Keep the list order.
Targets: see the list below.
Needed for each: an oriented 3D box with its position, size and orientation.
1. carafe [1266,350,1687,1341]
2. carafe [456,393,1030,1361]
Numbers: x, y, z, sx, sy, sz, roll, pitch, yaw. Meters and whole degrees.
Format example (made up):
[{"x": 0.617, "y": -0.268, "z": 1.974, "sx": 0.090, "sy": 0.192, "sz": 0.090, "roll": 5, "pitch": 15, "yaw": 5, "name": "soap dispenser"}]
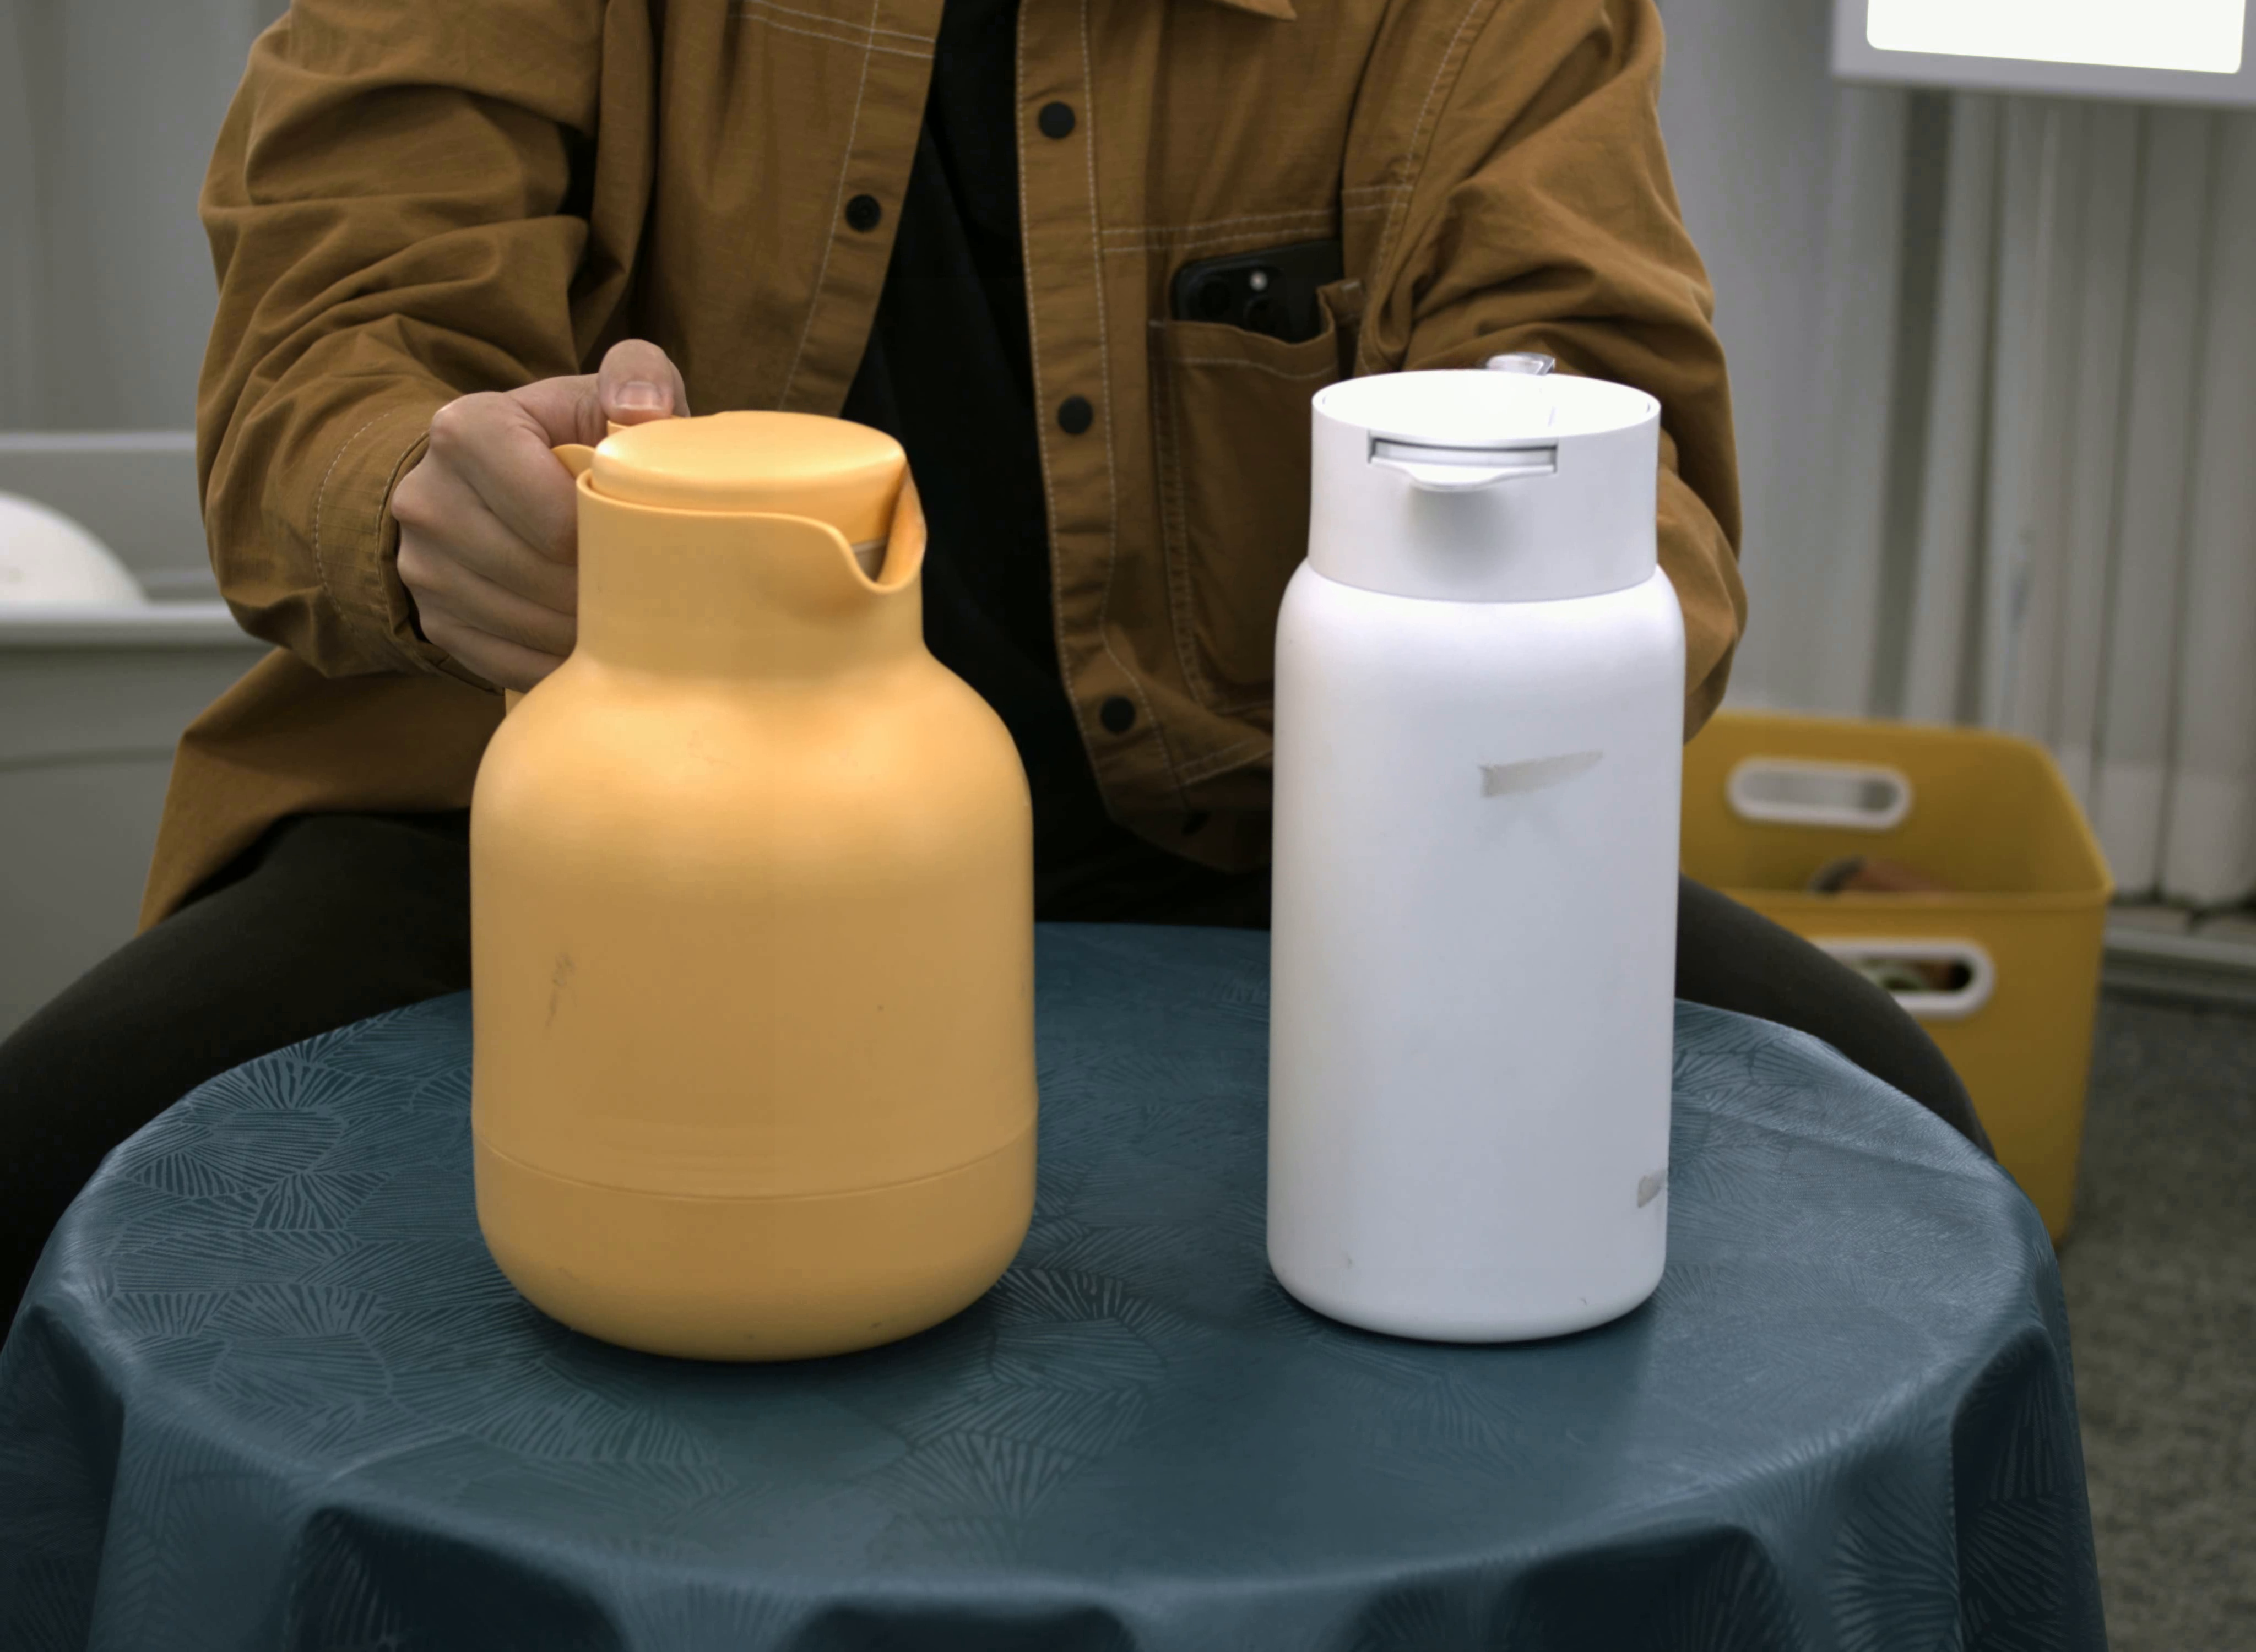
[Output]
[{"x": 0.102, "y": 0.001, "z": 1.525, "sx": 0.123, "sy": 0.271, "sz": 0.172, "roll": 2, "pitch": 16, "yaw": 12, "name": "carafe"}, {"x": -0.117, "y": 0.006, "z": 1.508, "sx": 0.164, "sy": 0.262, "sz": 0.199, "roll": -7, "pitch": 18, "yaw": -33, "name": "carafe"}]
